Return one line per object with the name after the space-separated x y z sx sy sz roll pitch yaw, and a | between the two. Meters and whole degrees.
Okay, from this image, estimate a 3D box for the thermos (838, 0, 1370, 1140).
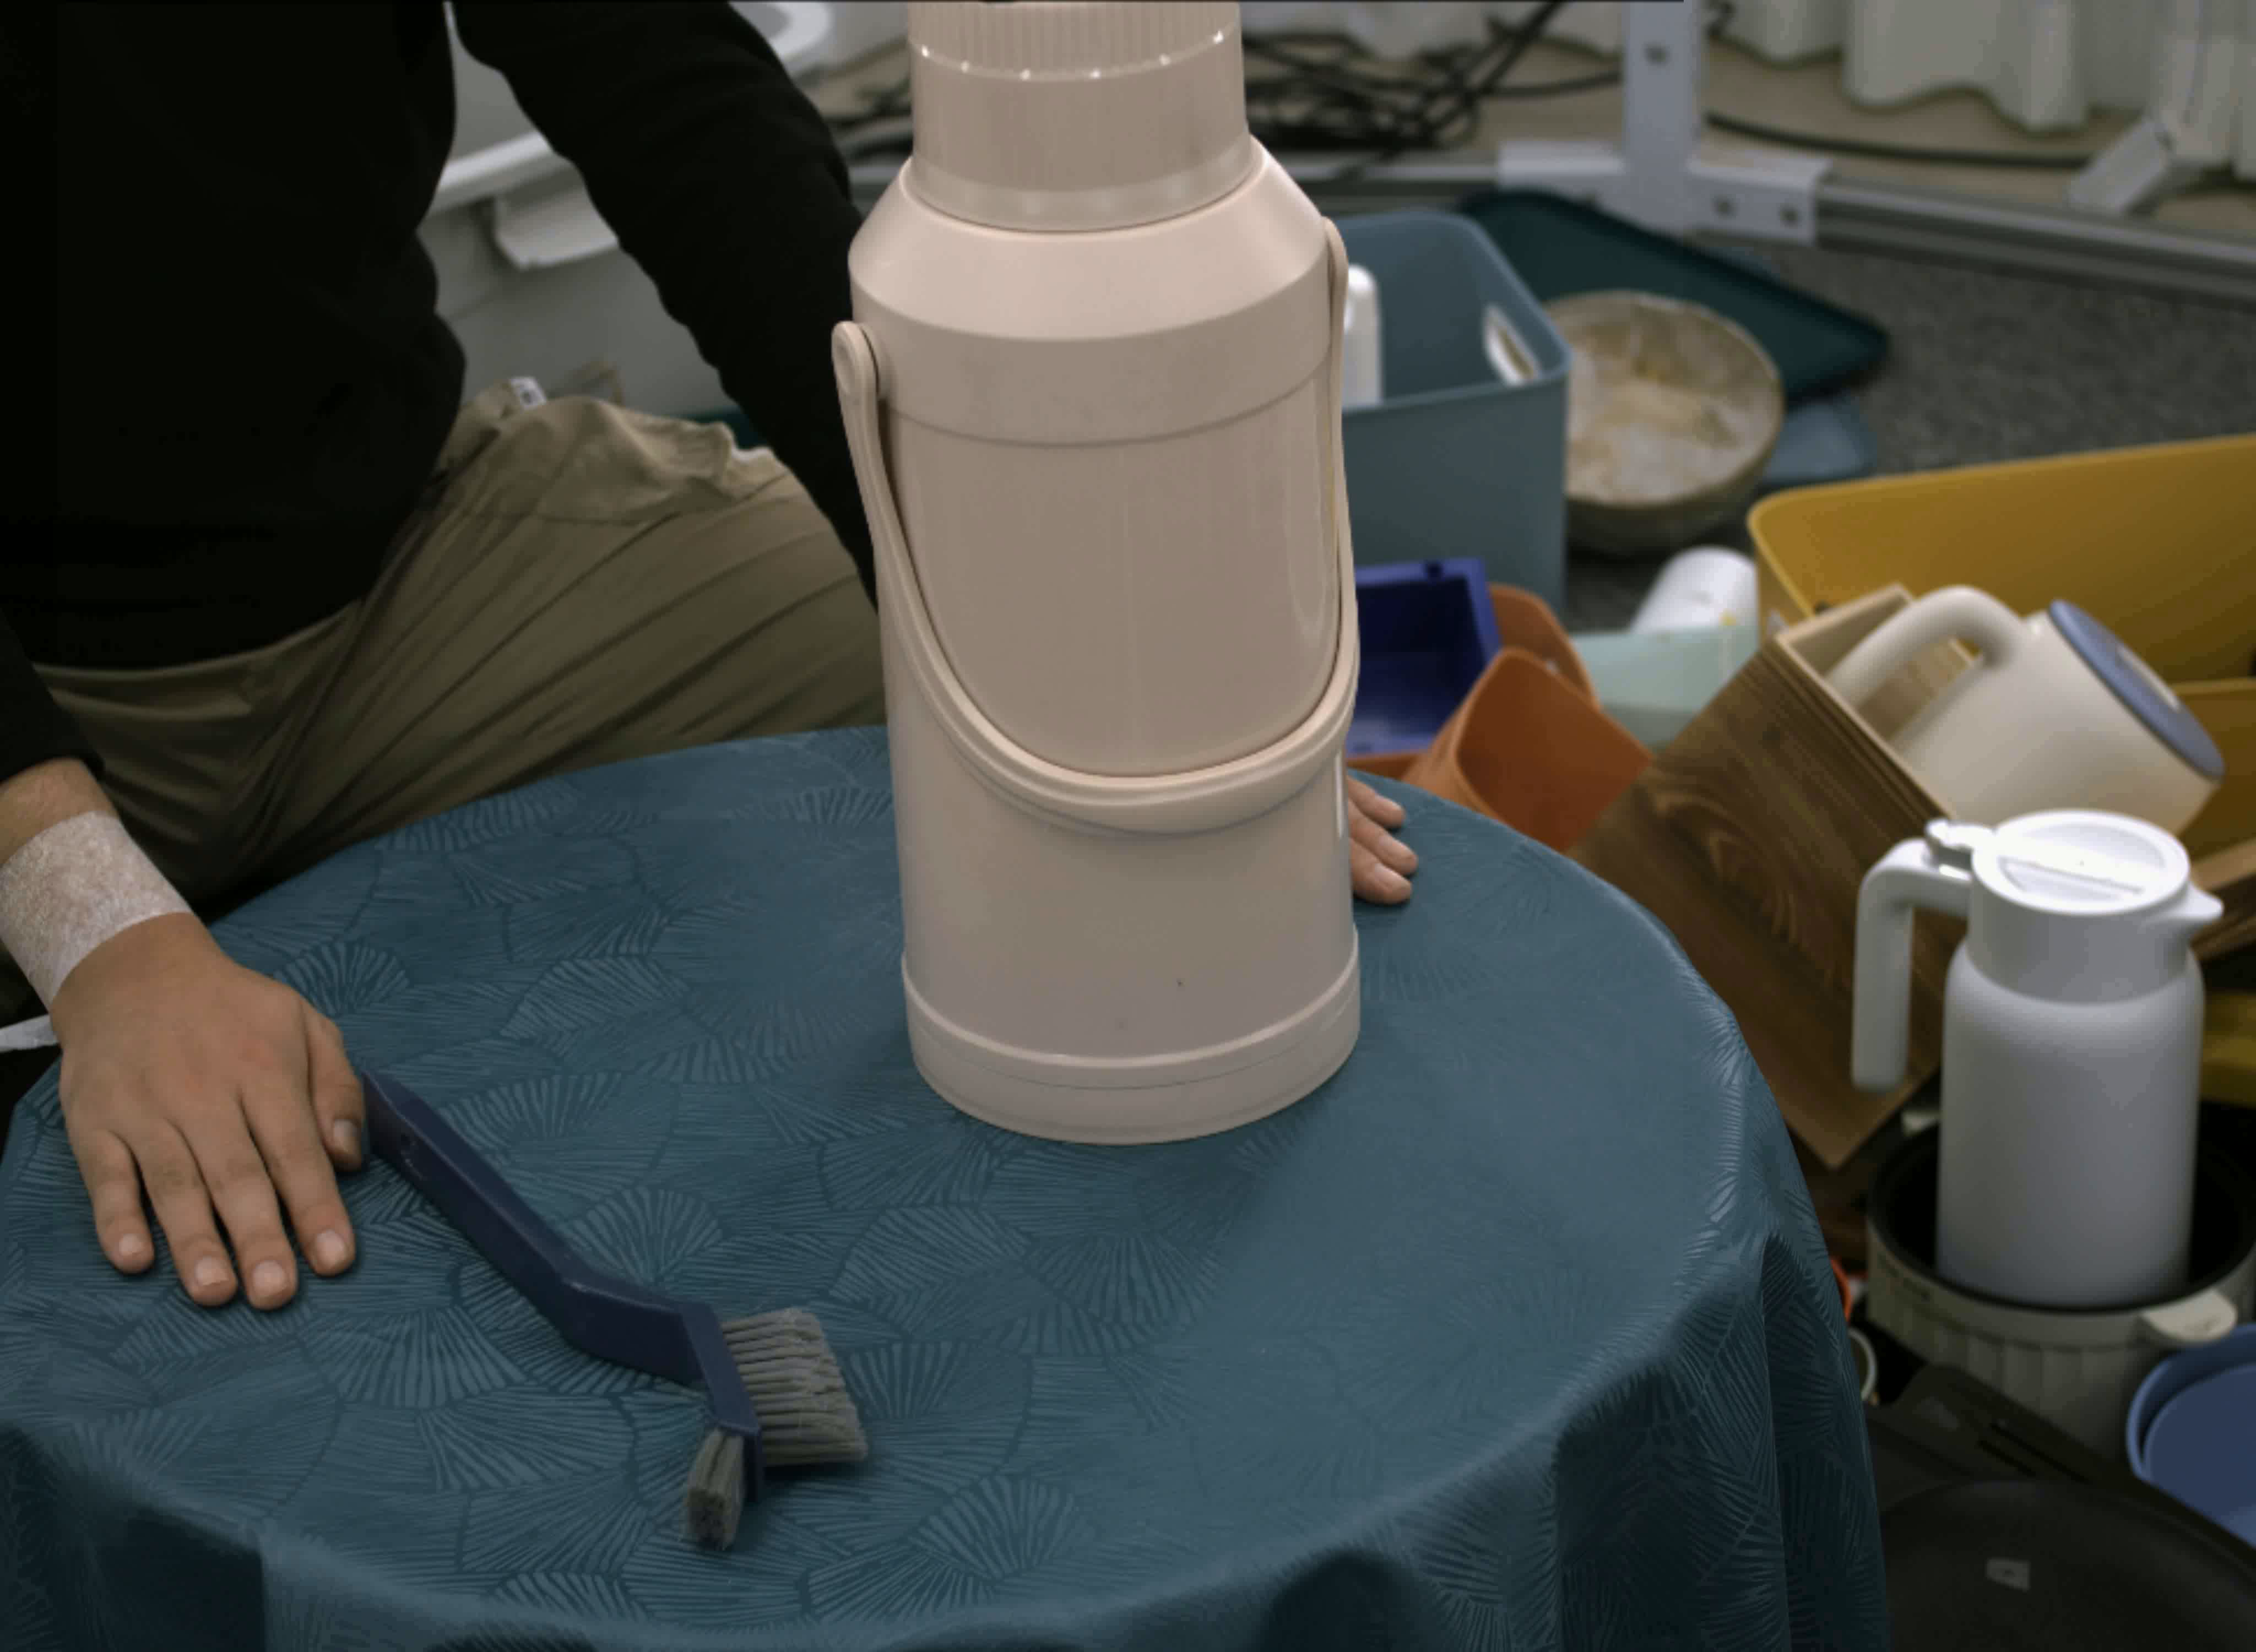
-0.011 -0.111 1.886 0.176 0.402 0.208 -16 29 -21 | thermos

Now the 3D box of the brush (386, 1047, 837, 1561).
-0.186 0.148 1.793 0.096 0.033 0.273 -21 34 -35 | brush
